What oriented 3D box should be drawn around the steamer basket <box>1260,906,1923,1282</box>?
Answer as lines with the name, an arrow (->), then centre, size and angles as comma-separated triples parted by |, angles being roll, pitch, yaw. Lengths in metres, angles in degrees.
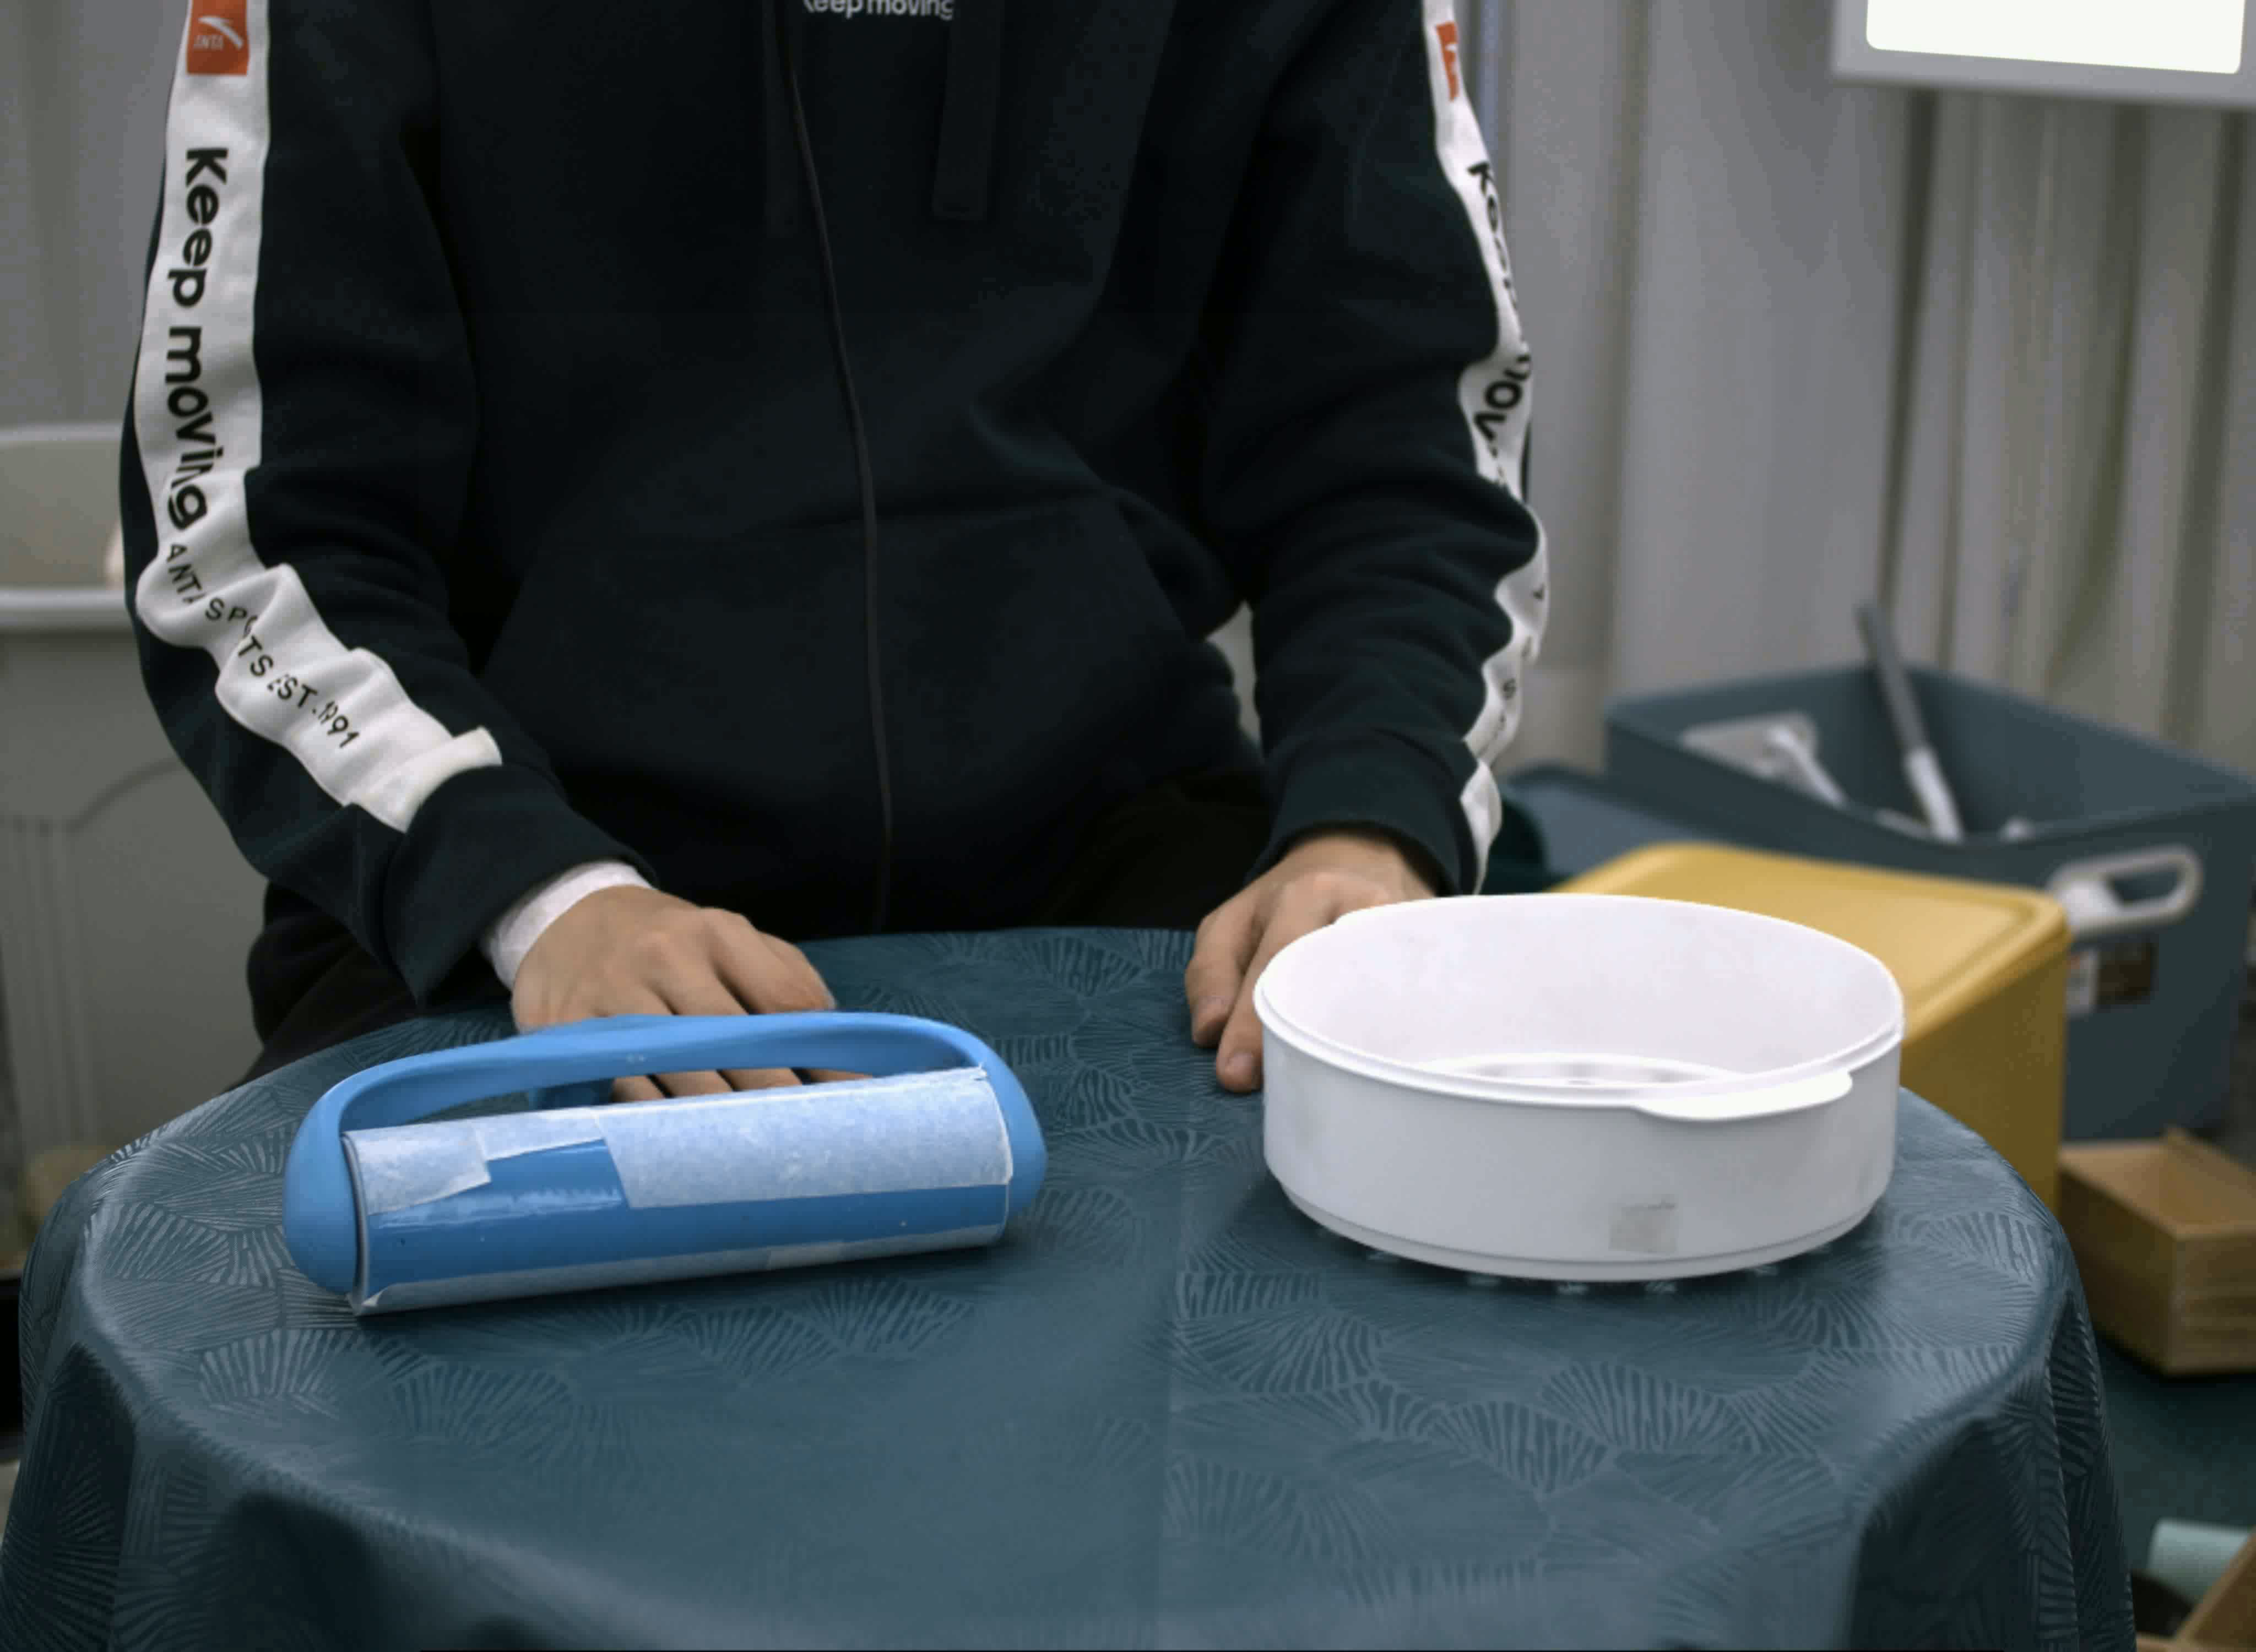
steamer basket -> 0.140, 0.081, 1.608 | 0.202, 0.070, 0.228 | -6, 16, -24

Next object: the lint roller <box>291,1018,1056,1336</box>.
lint roller -> -0.153, 0.092, 1.586 | 0.229, 0.068, 0.178 | -9, 19, -22
